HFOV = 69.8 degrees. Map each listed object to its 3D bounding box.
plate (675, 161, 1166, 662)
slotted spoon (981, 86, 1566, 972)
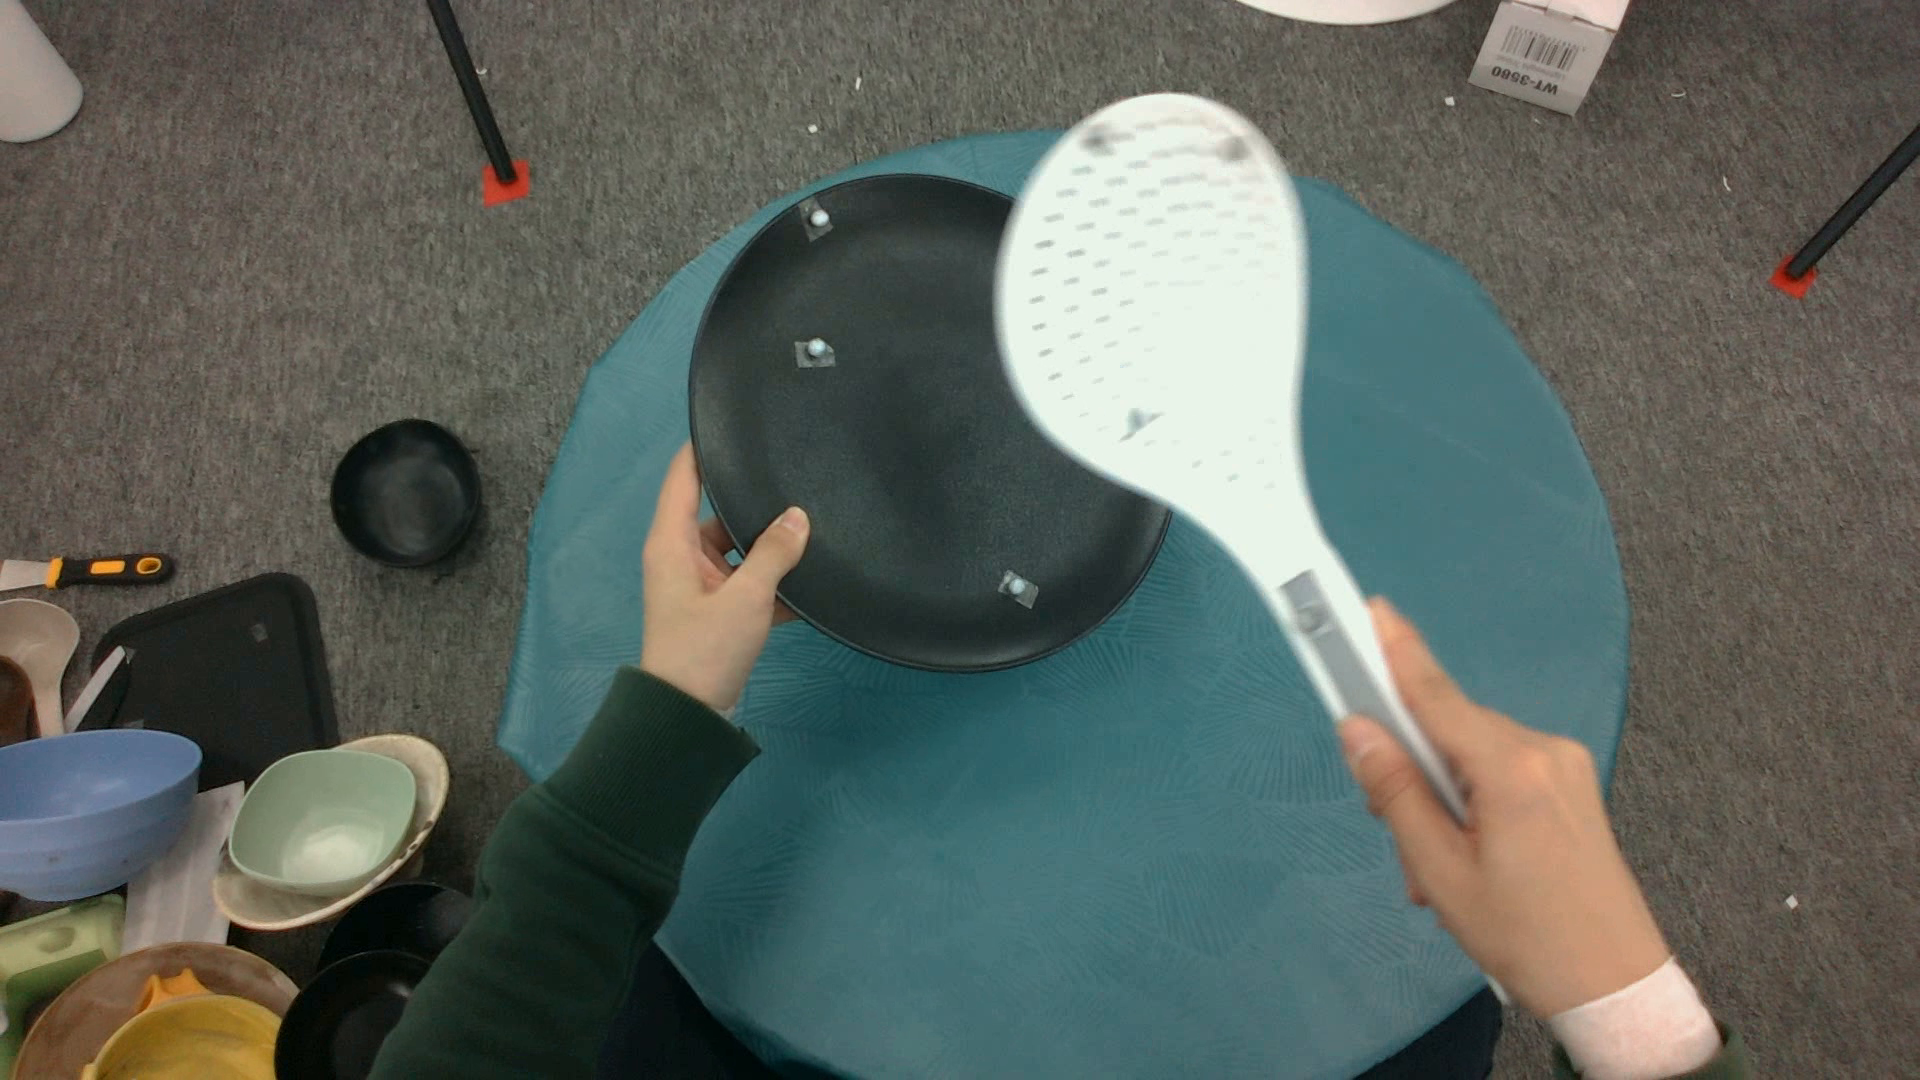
[{"bbox_3d":[-0.014,-0.063,0.650,0.245,0.023,0.245,5,75,-21],"label":"plate"},{"bbox_3d":[0.113,-0.008,0.501,0.046,0.135,0.350,-11,69,-42],"label":"slotted spoon"}]
